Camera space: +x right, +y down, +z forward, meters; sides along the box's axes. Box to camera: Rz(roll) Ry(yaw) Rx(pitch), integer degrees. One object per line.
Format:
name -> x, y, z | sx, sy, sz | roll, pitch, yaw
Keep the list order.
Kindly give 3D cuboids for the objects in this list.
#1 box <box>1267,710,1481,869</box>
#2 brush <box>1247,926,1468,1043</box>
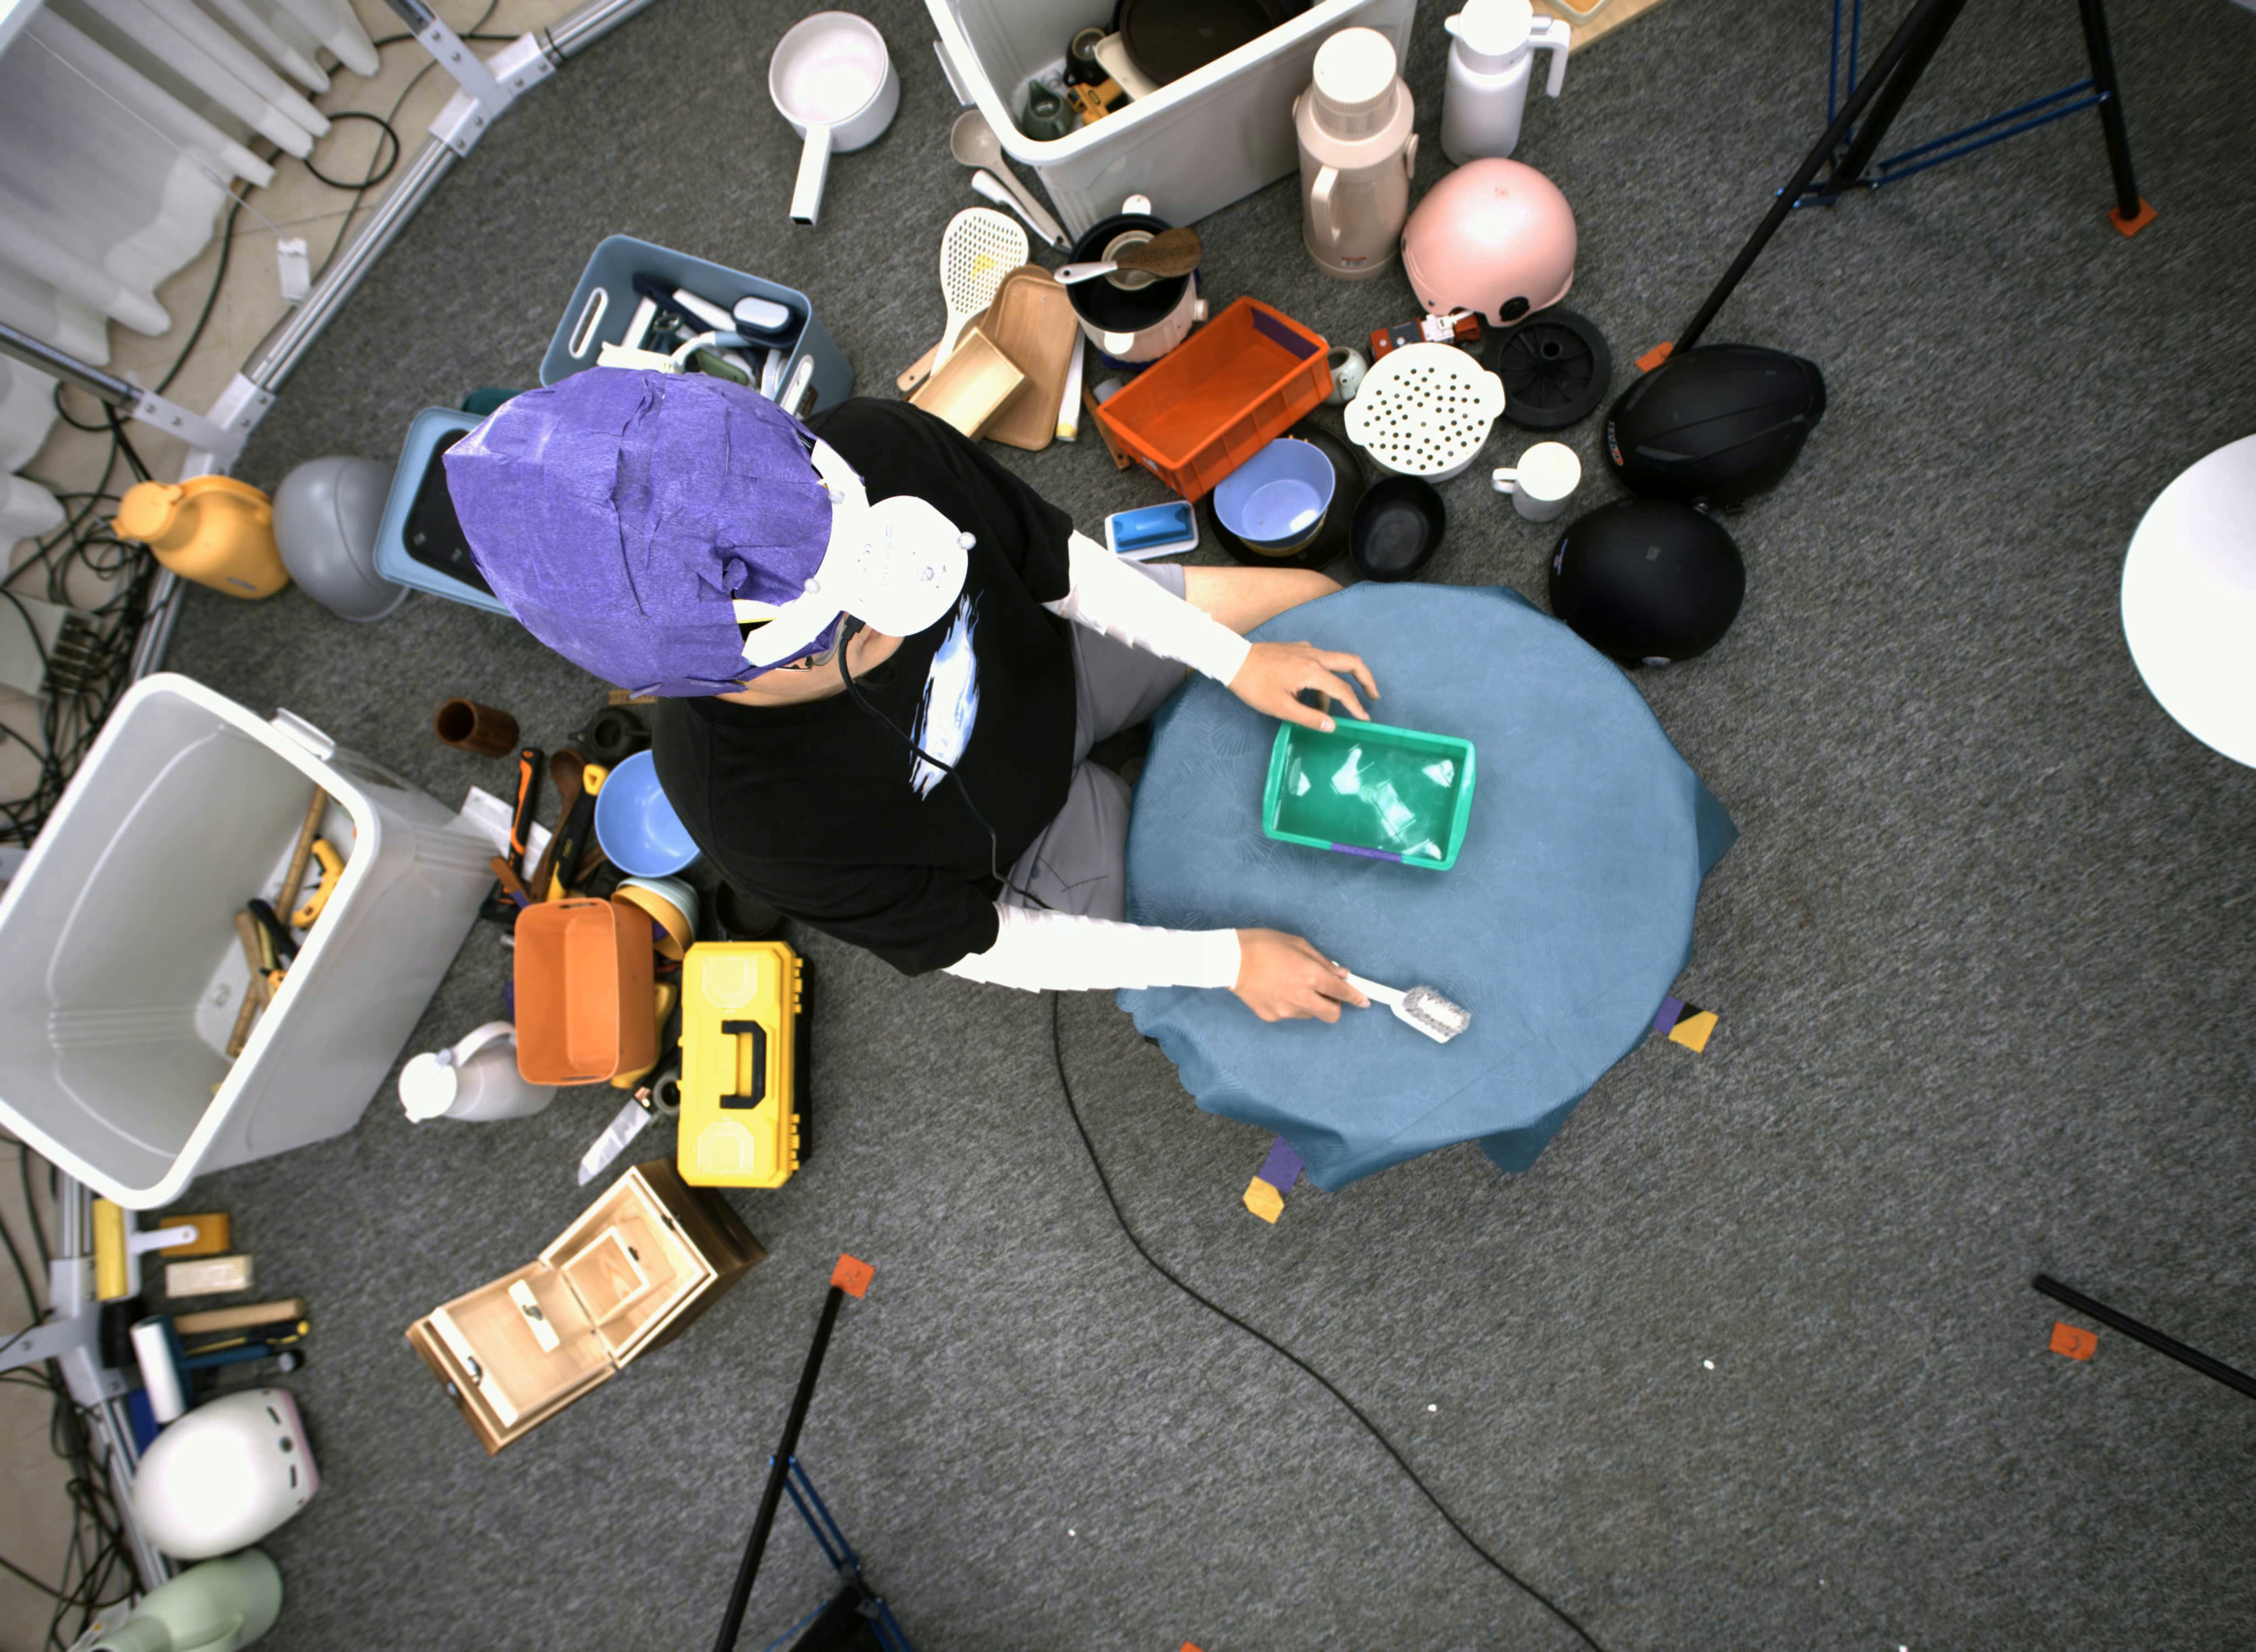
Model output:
box -> 0.256, -0.037, 1.436 | 0.211, 0.065, 0.138 | 10, 90, 12
brush -> 0.235, 0.155, 1.435 | 0.243, 0.051, 0.034 | 26, 66, 12
